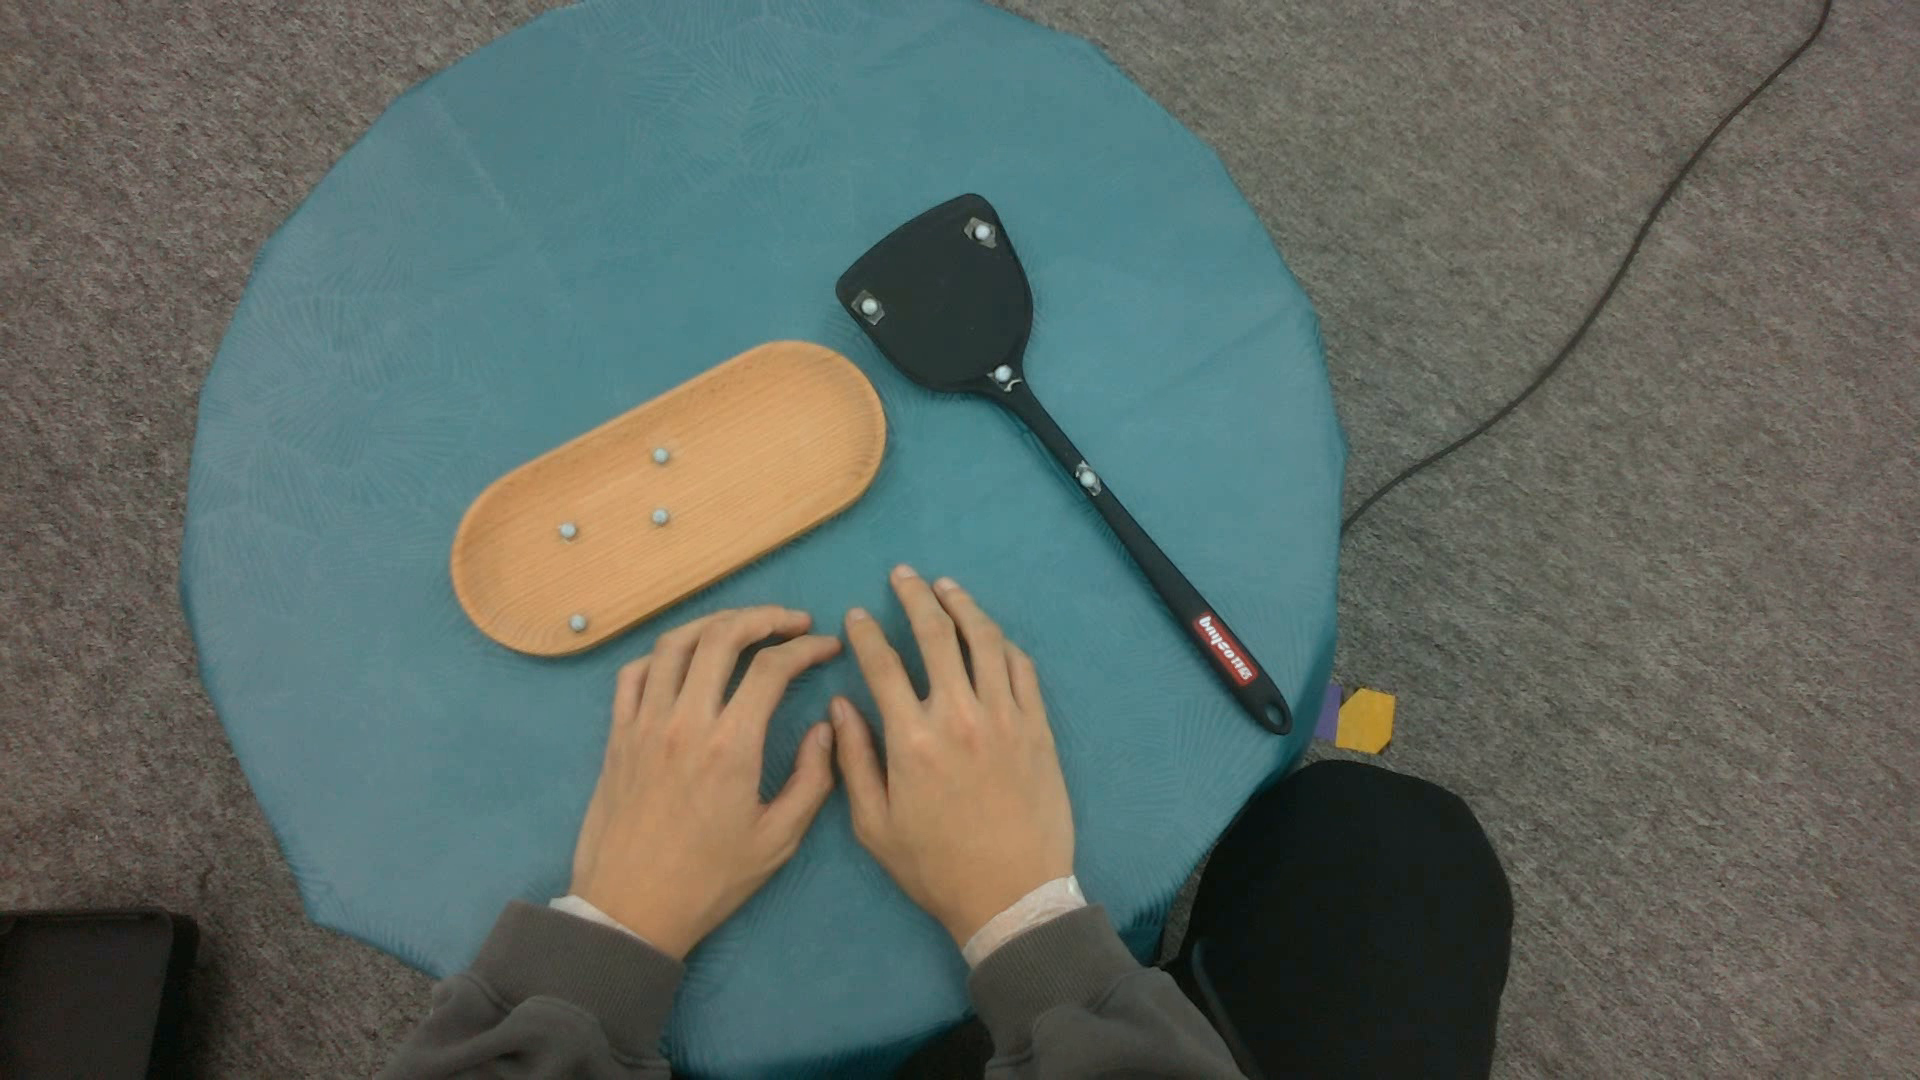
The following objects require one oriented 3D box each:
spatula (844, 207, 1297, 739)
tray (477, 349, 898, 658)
[{"bbox_3d":[0.069,-0.030,0.715,0.100,0.040,0.326,-36,77,-10],"label":"spatula"},{"bbox_3d":[-0.140,-0.020,0.719,0.231,0.020,0.102,-29,76,-11],"label":"tray"}]
